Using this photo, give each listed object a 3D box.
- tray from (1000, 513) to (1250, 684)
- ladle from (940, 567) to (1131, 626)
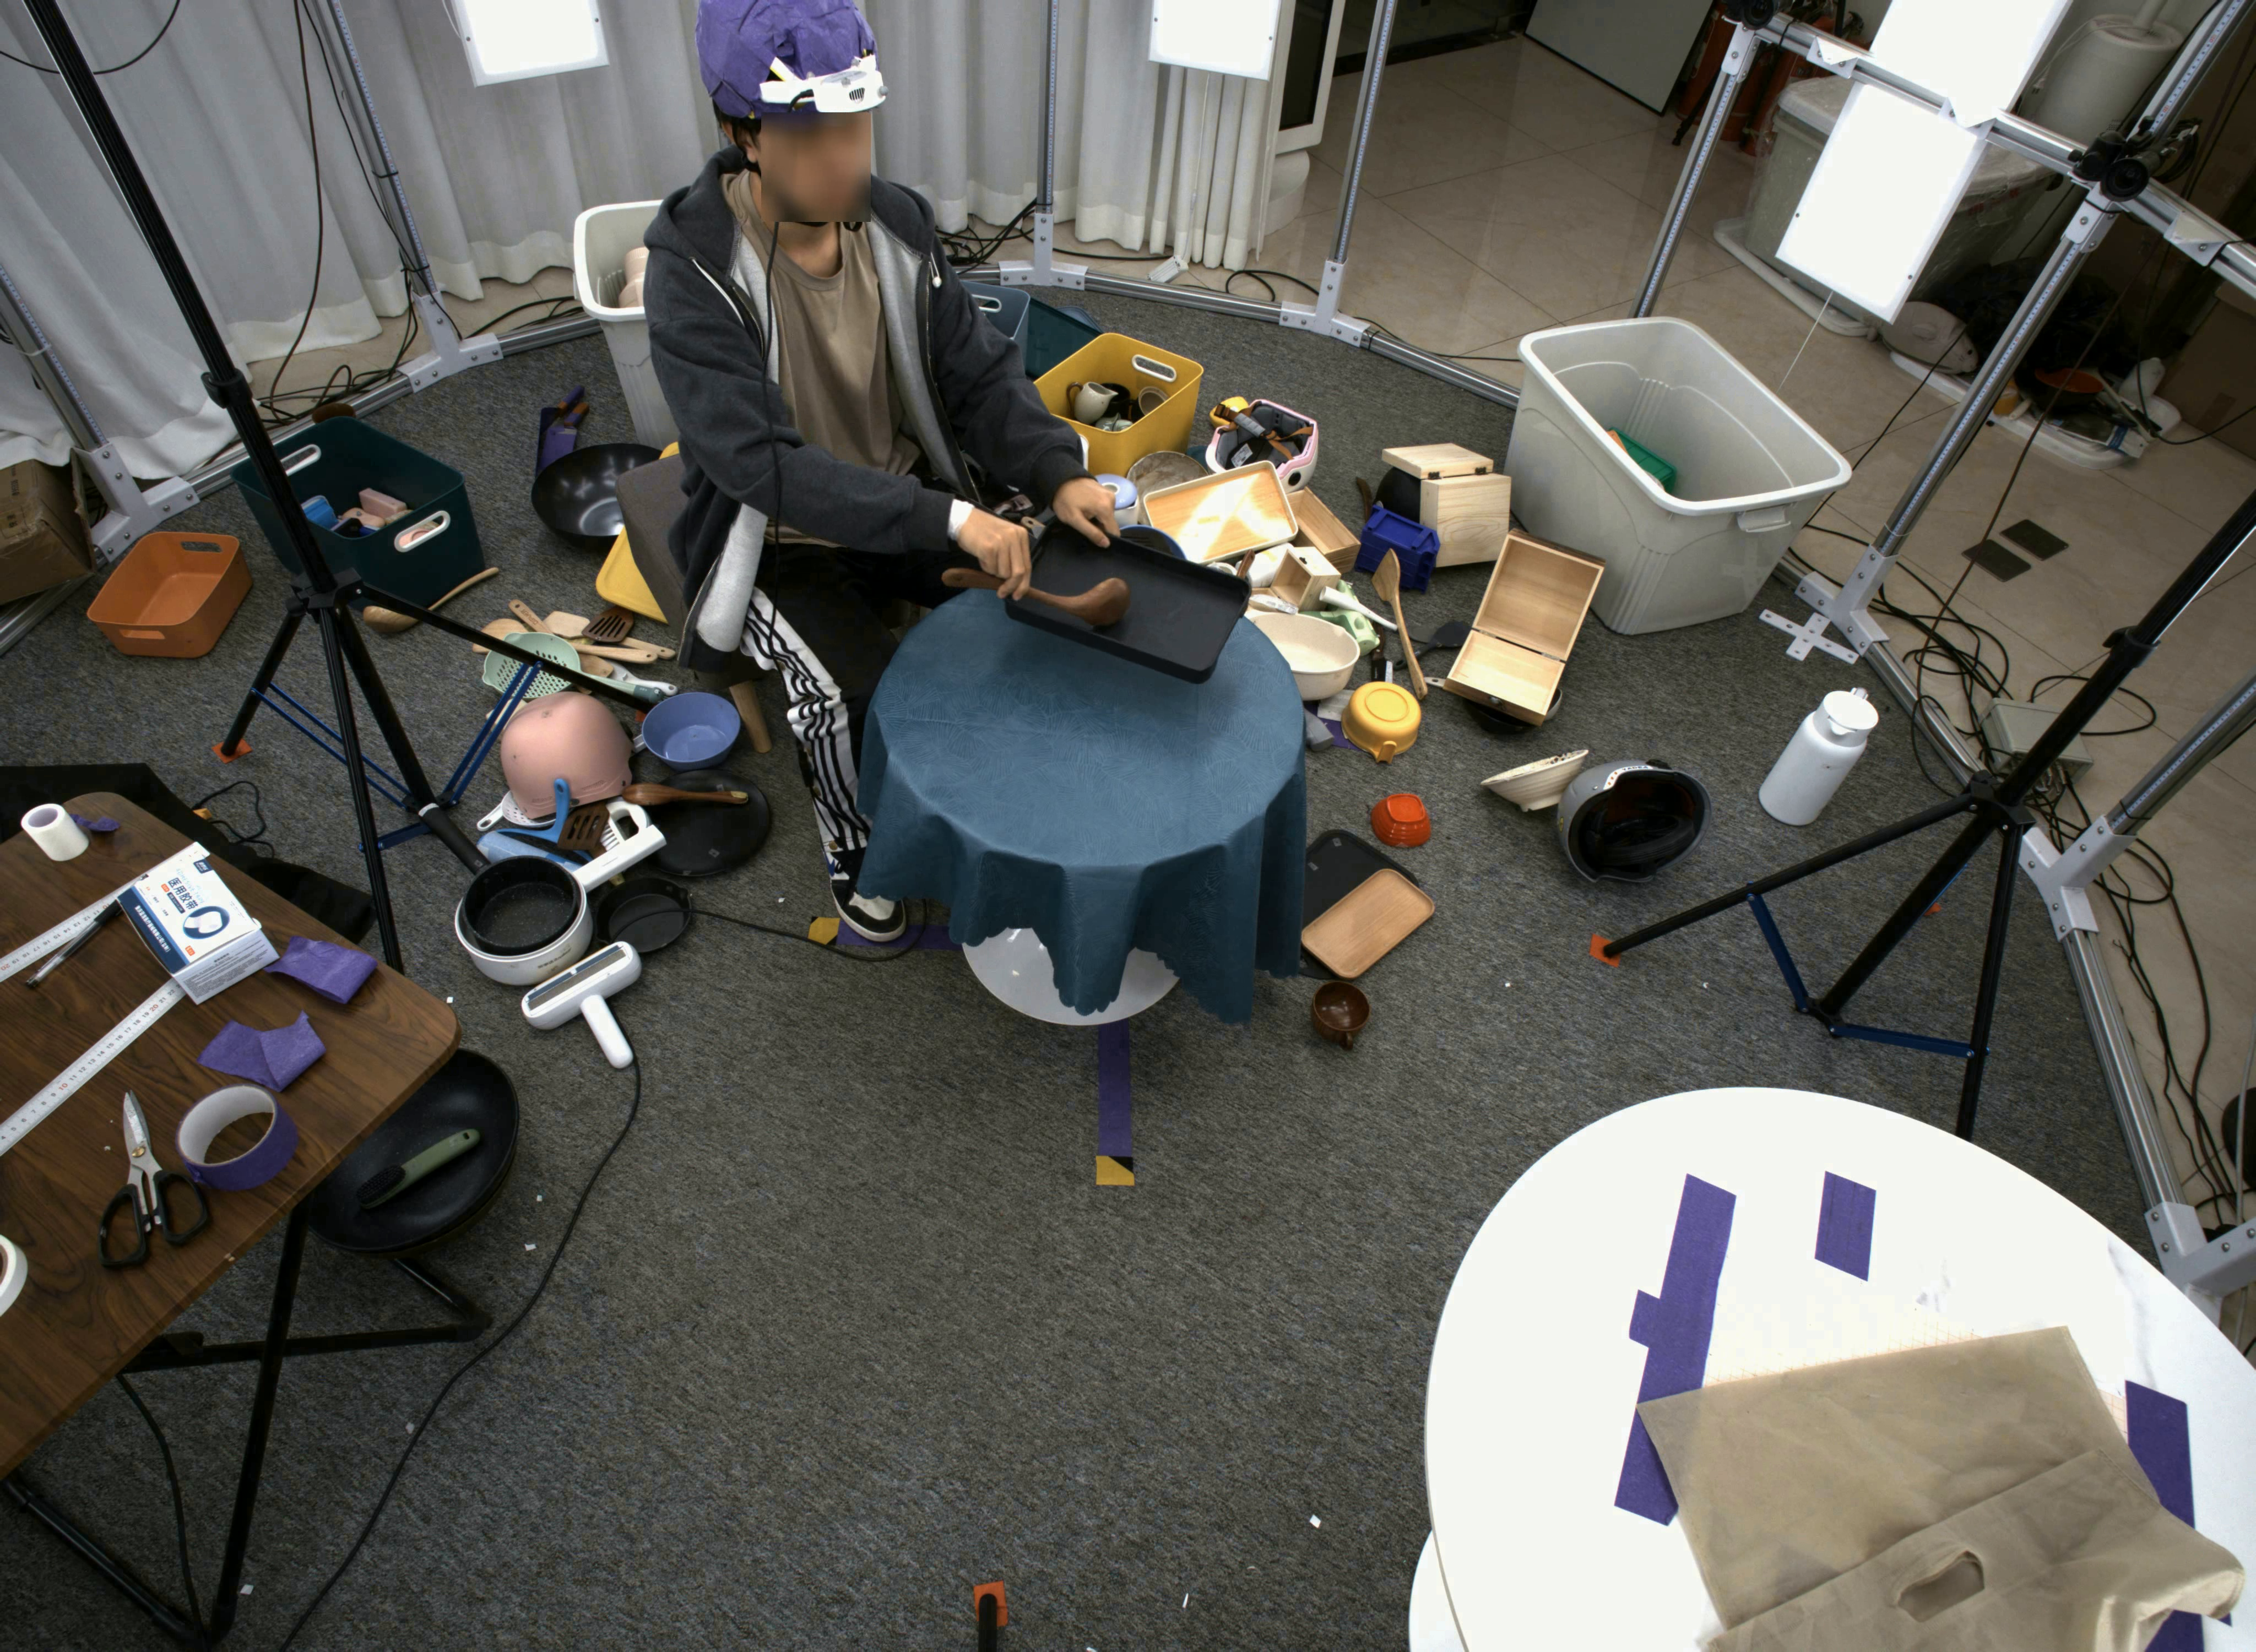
[{"bbox_3d":[-0.004,-0.322,1.805,0.319,0.036,0.187,22,58,12],"label":"tray"},{"bbox_3d":[-0.123,-0.326,1.754,0.259,0.075,0.067,11,44,-8],"label":"ladle"}]
